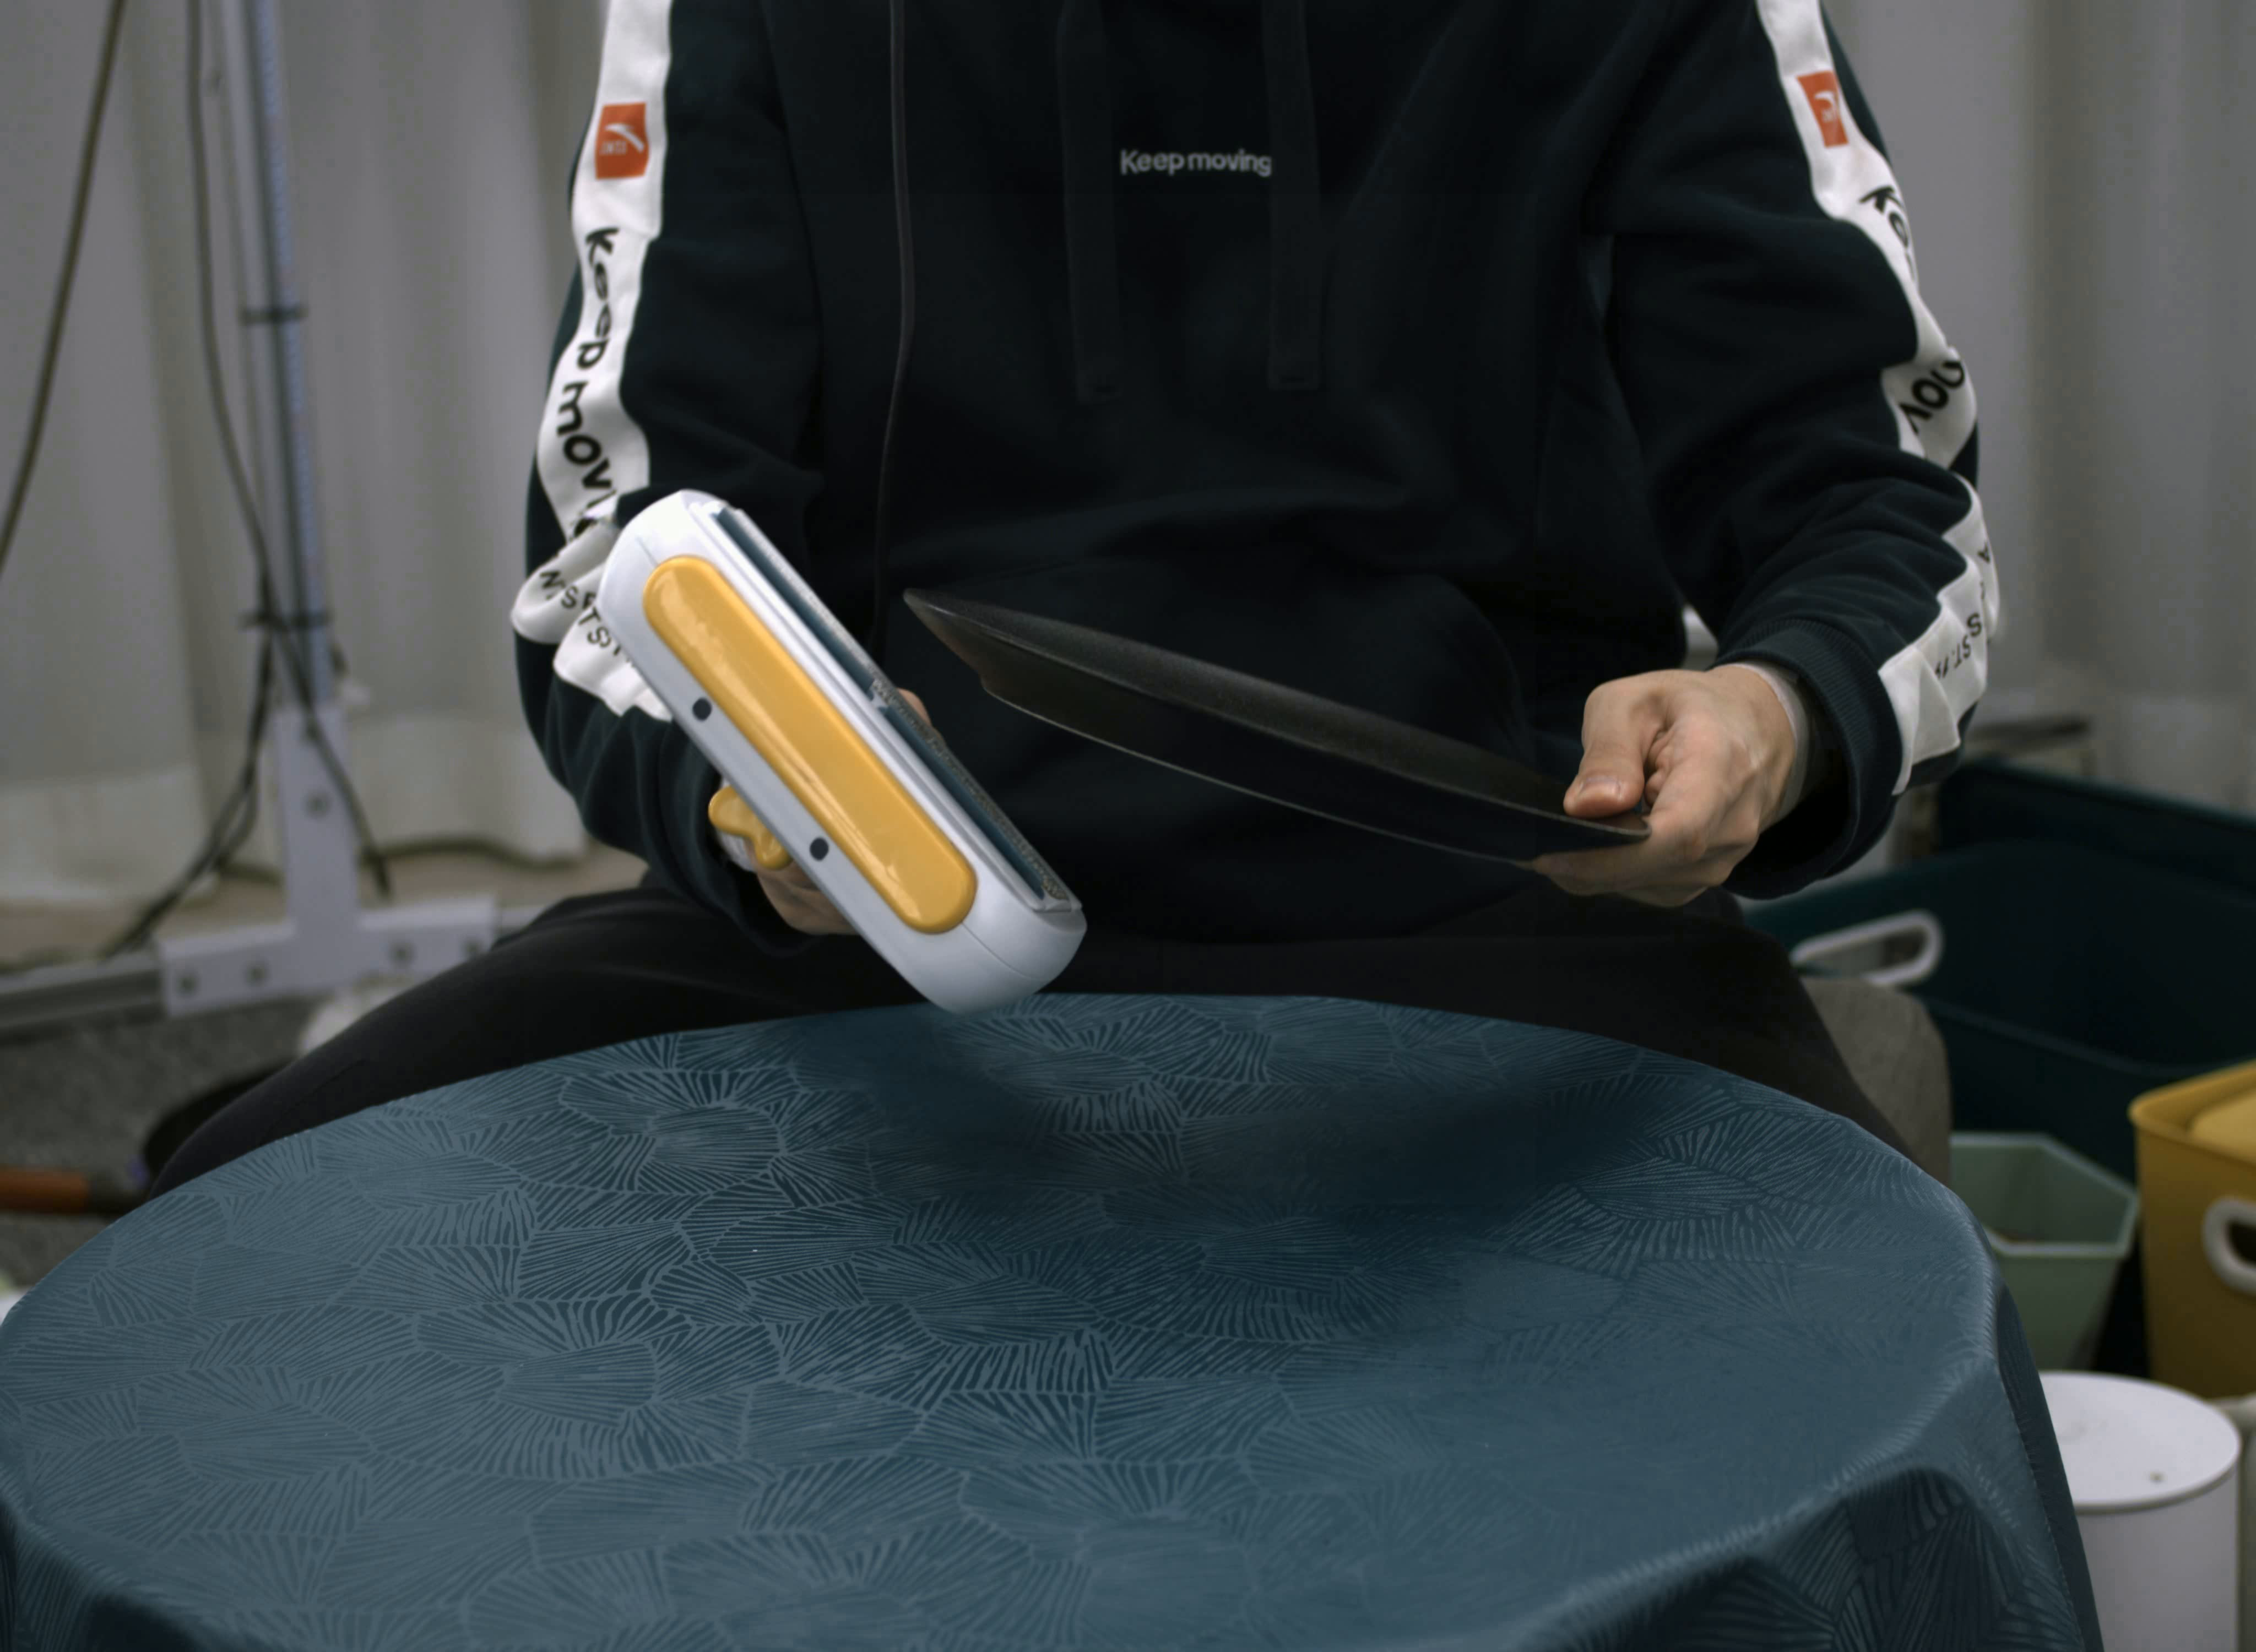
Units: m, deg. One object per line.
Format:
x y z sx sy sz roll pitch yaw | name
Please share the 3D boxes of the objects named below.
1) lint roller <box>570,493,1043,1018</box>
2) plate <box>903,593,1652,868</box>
-0.097 0.001 1.735 0.074 0.194 0.190 -42 -19 -7 | lint roller
0.043 -0.026 1.697 0.243 0.023 0.245 17 5 -2 | plate
